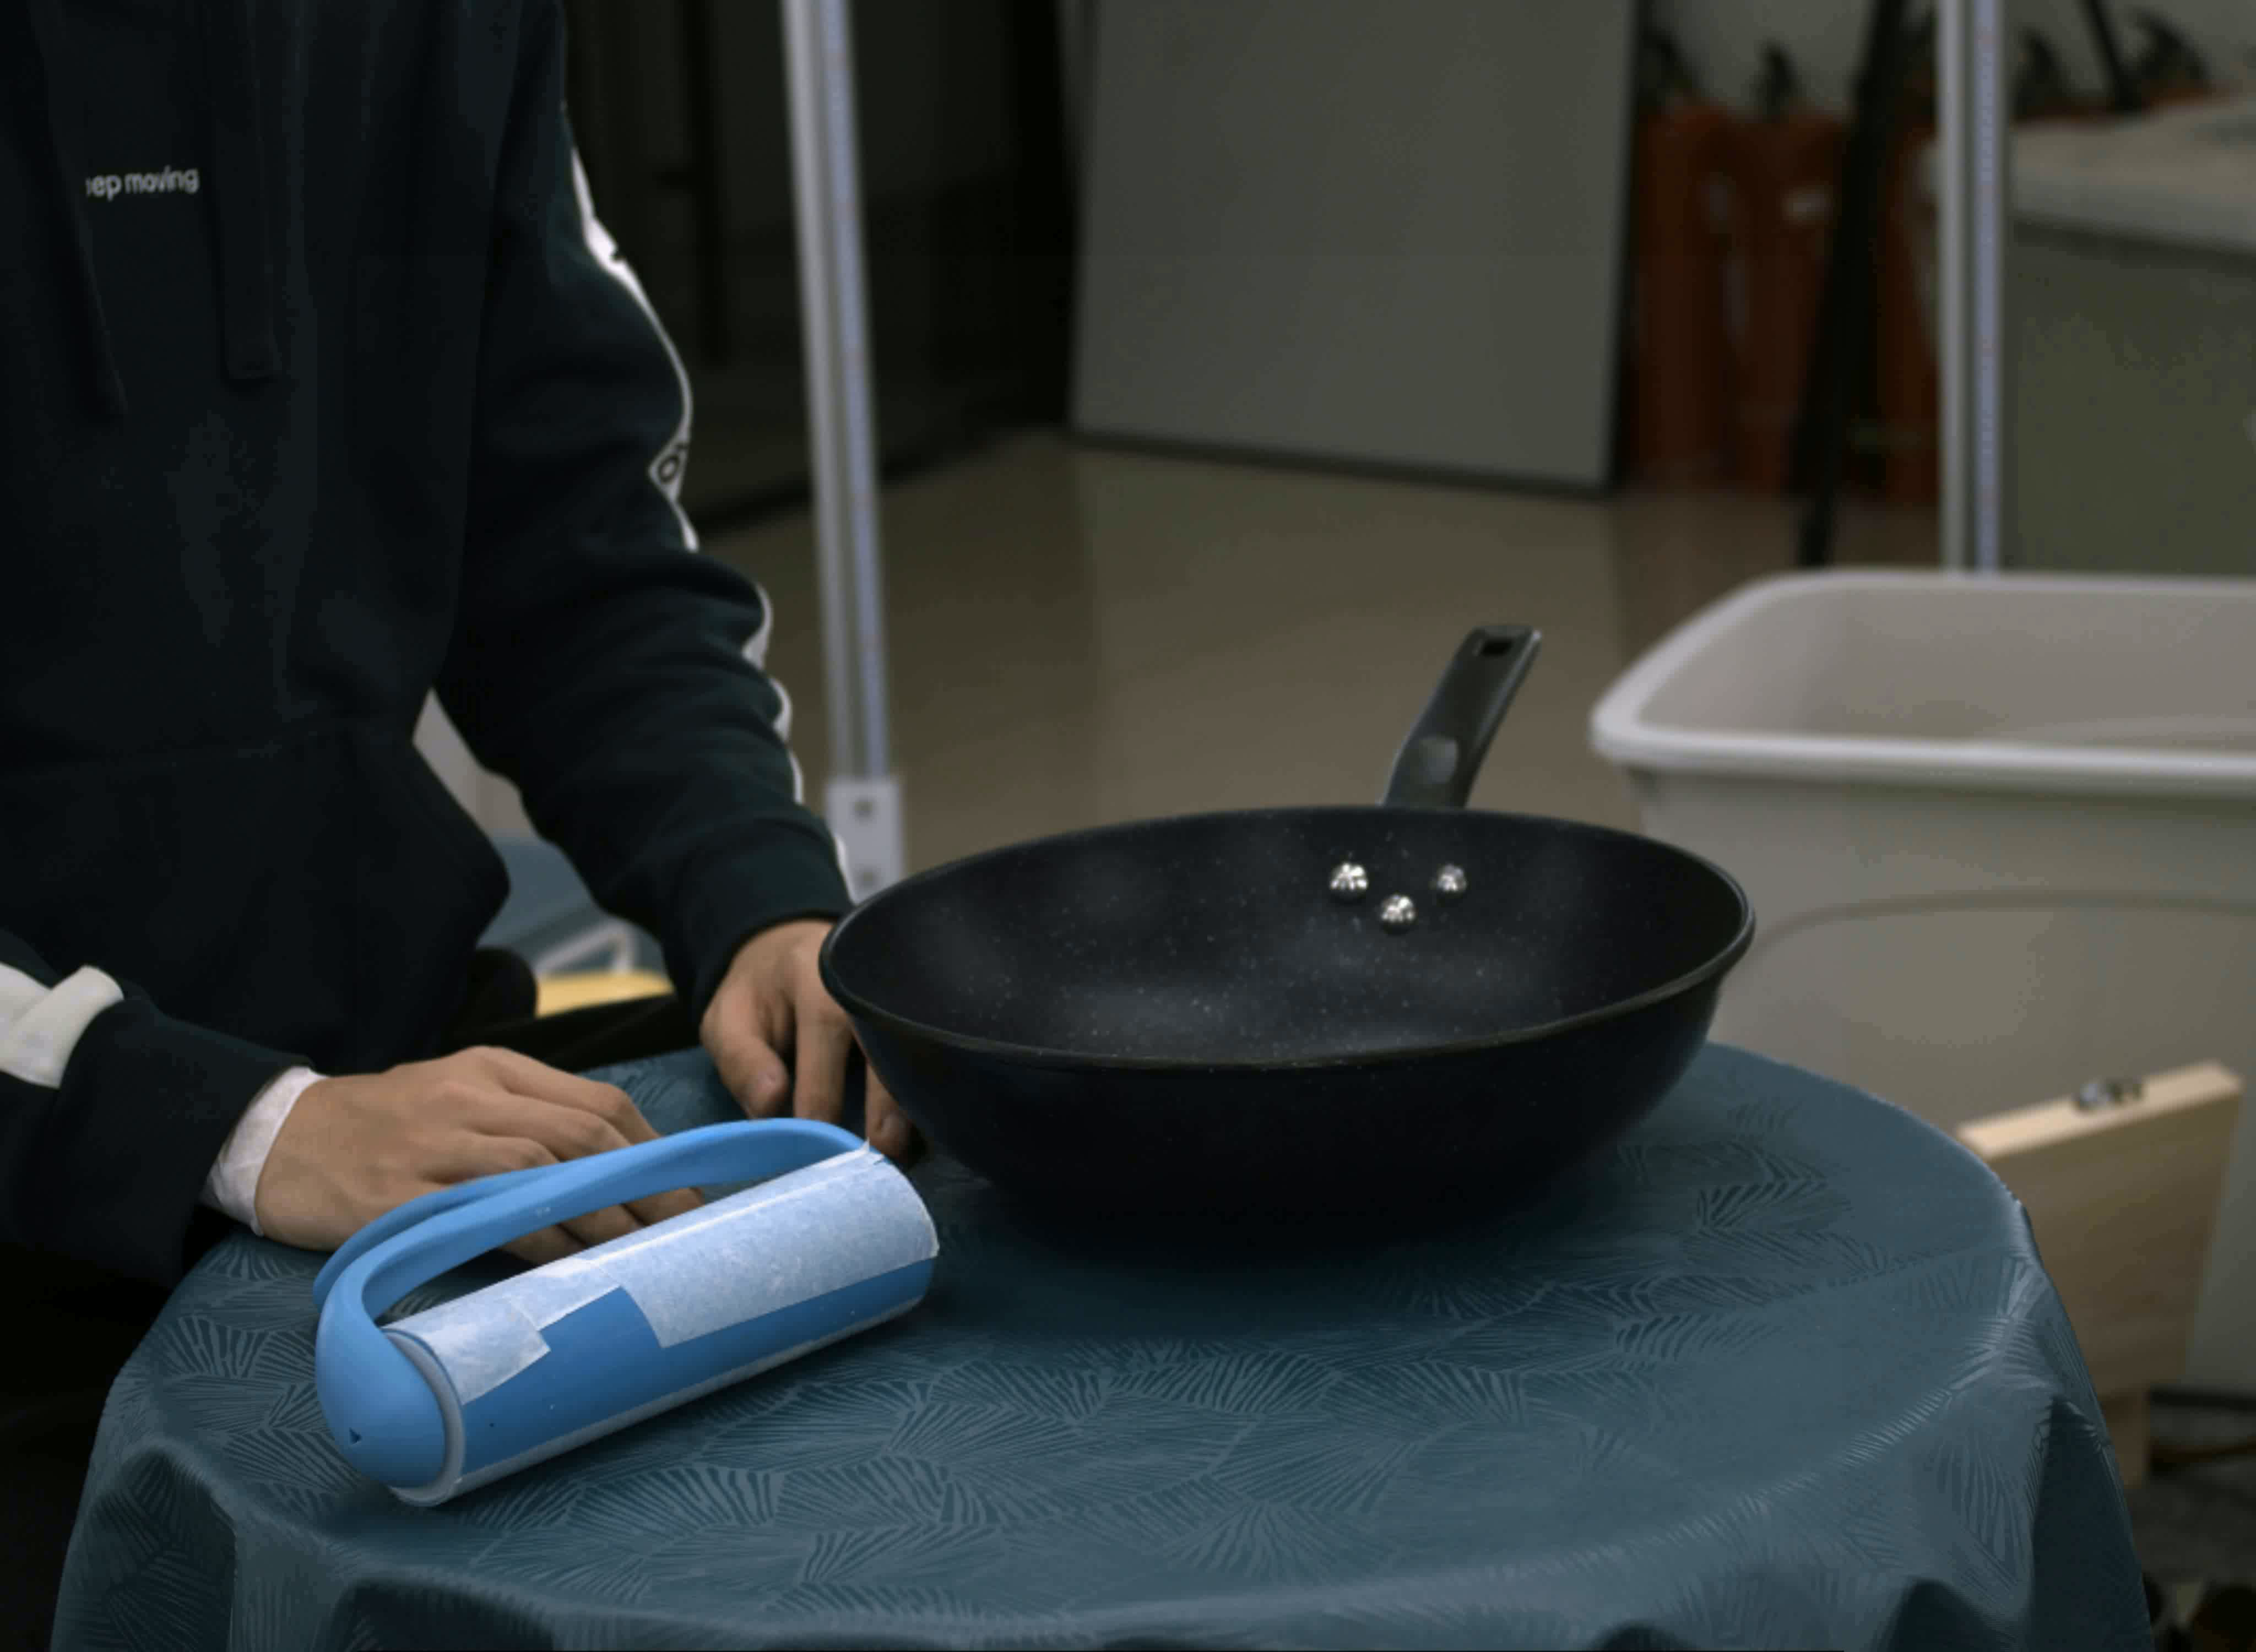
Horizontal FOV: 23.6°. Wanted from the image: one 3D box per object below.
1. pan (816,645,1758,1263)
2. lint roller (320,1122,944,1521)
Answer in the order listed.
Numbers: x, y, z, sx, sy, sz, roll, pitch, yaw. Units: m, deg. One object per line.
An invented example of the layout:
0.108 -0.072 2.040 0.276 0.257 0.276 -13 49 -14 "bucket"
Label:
0.077 0.044 1.839 0.309 0.113 0.473 2 15 17 "pan"
-0.183 0.140 1.633 0.181 0.068 0.225 9 21 39 "lint roller"
